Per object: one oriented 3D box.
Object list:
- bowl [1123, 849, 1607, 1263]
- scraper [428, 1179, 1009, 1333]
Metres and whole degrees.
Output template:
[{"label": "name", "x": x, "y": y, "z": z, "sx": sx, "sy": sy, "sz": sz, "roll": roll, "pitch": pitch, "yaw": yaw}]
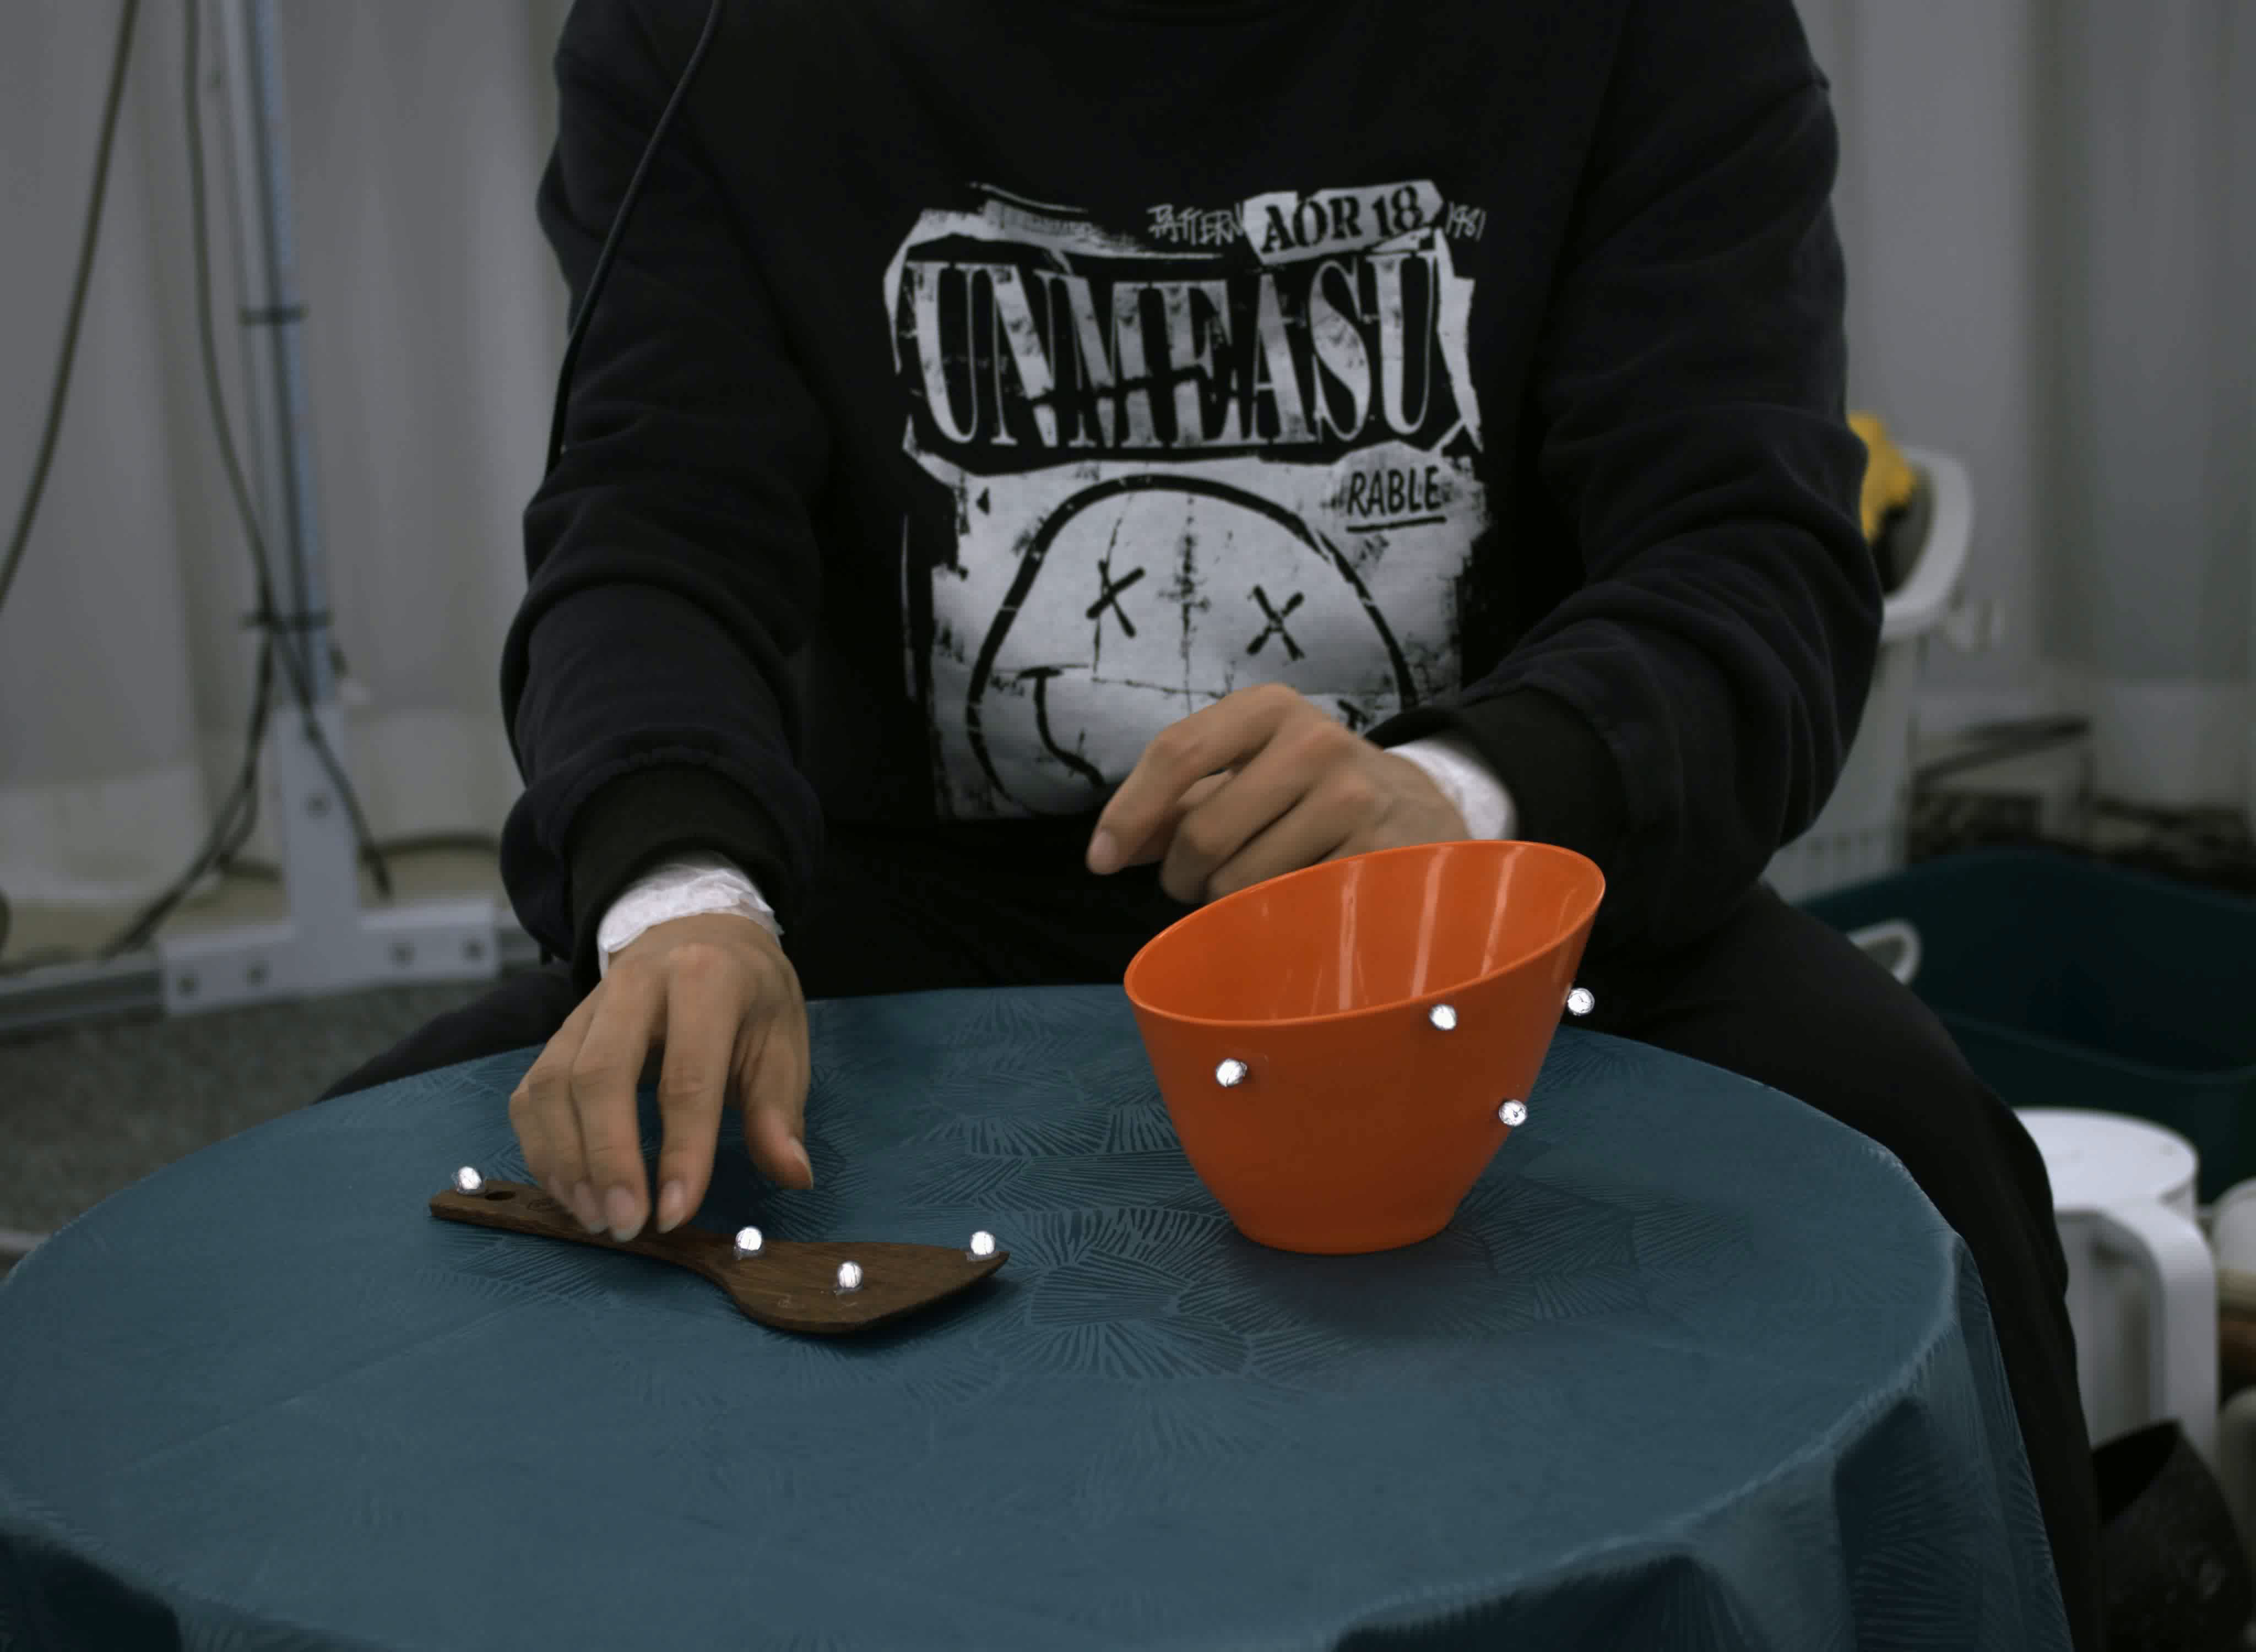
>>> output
[{"label": "bowl", "x": 0.074, "y": 0.072, "z": 1.666, "sx": 0.147, "sy": 0.104, "sz": 0.149, "roll": -3, "pitch": 15, "yaw": 0}, {"label": "scraper", "x": -0.133, "y": 0.129, "z": 1.672, "sx": 0.212, "sy": 0.011, "sz": 0.076, "roll": 8, "pitch": 17, "yaw": 38}]
